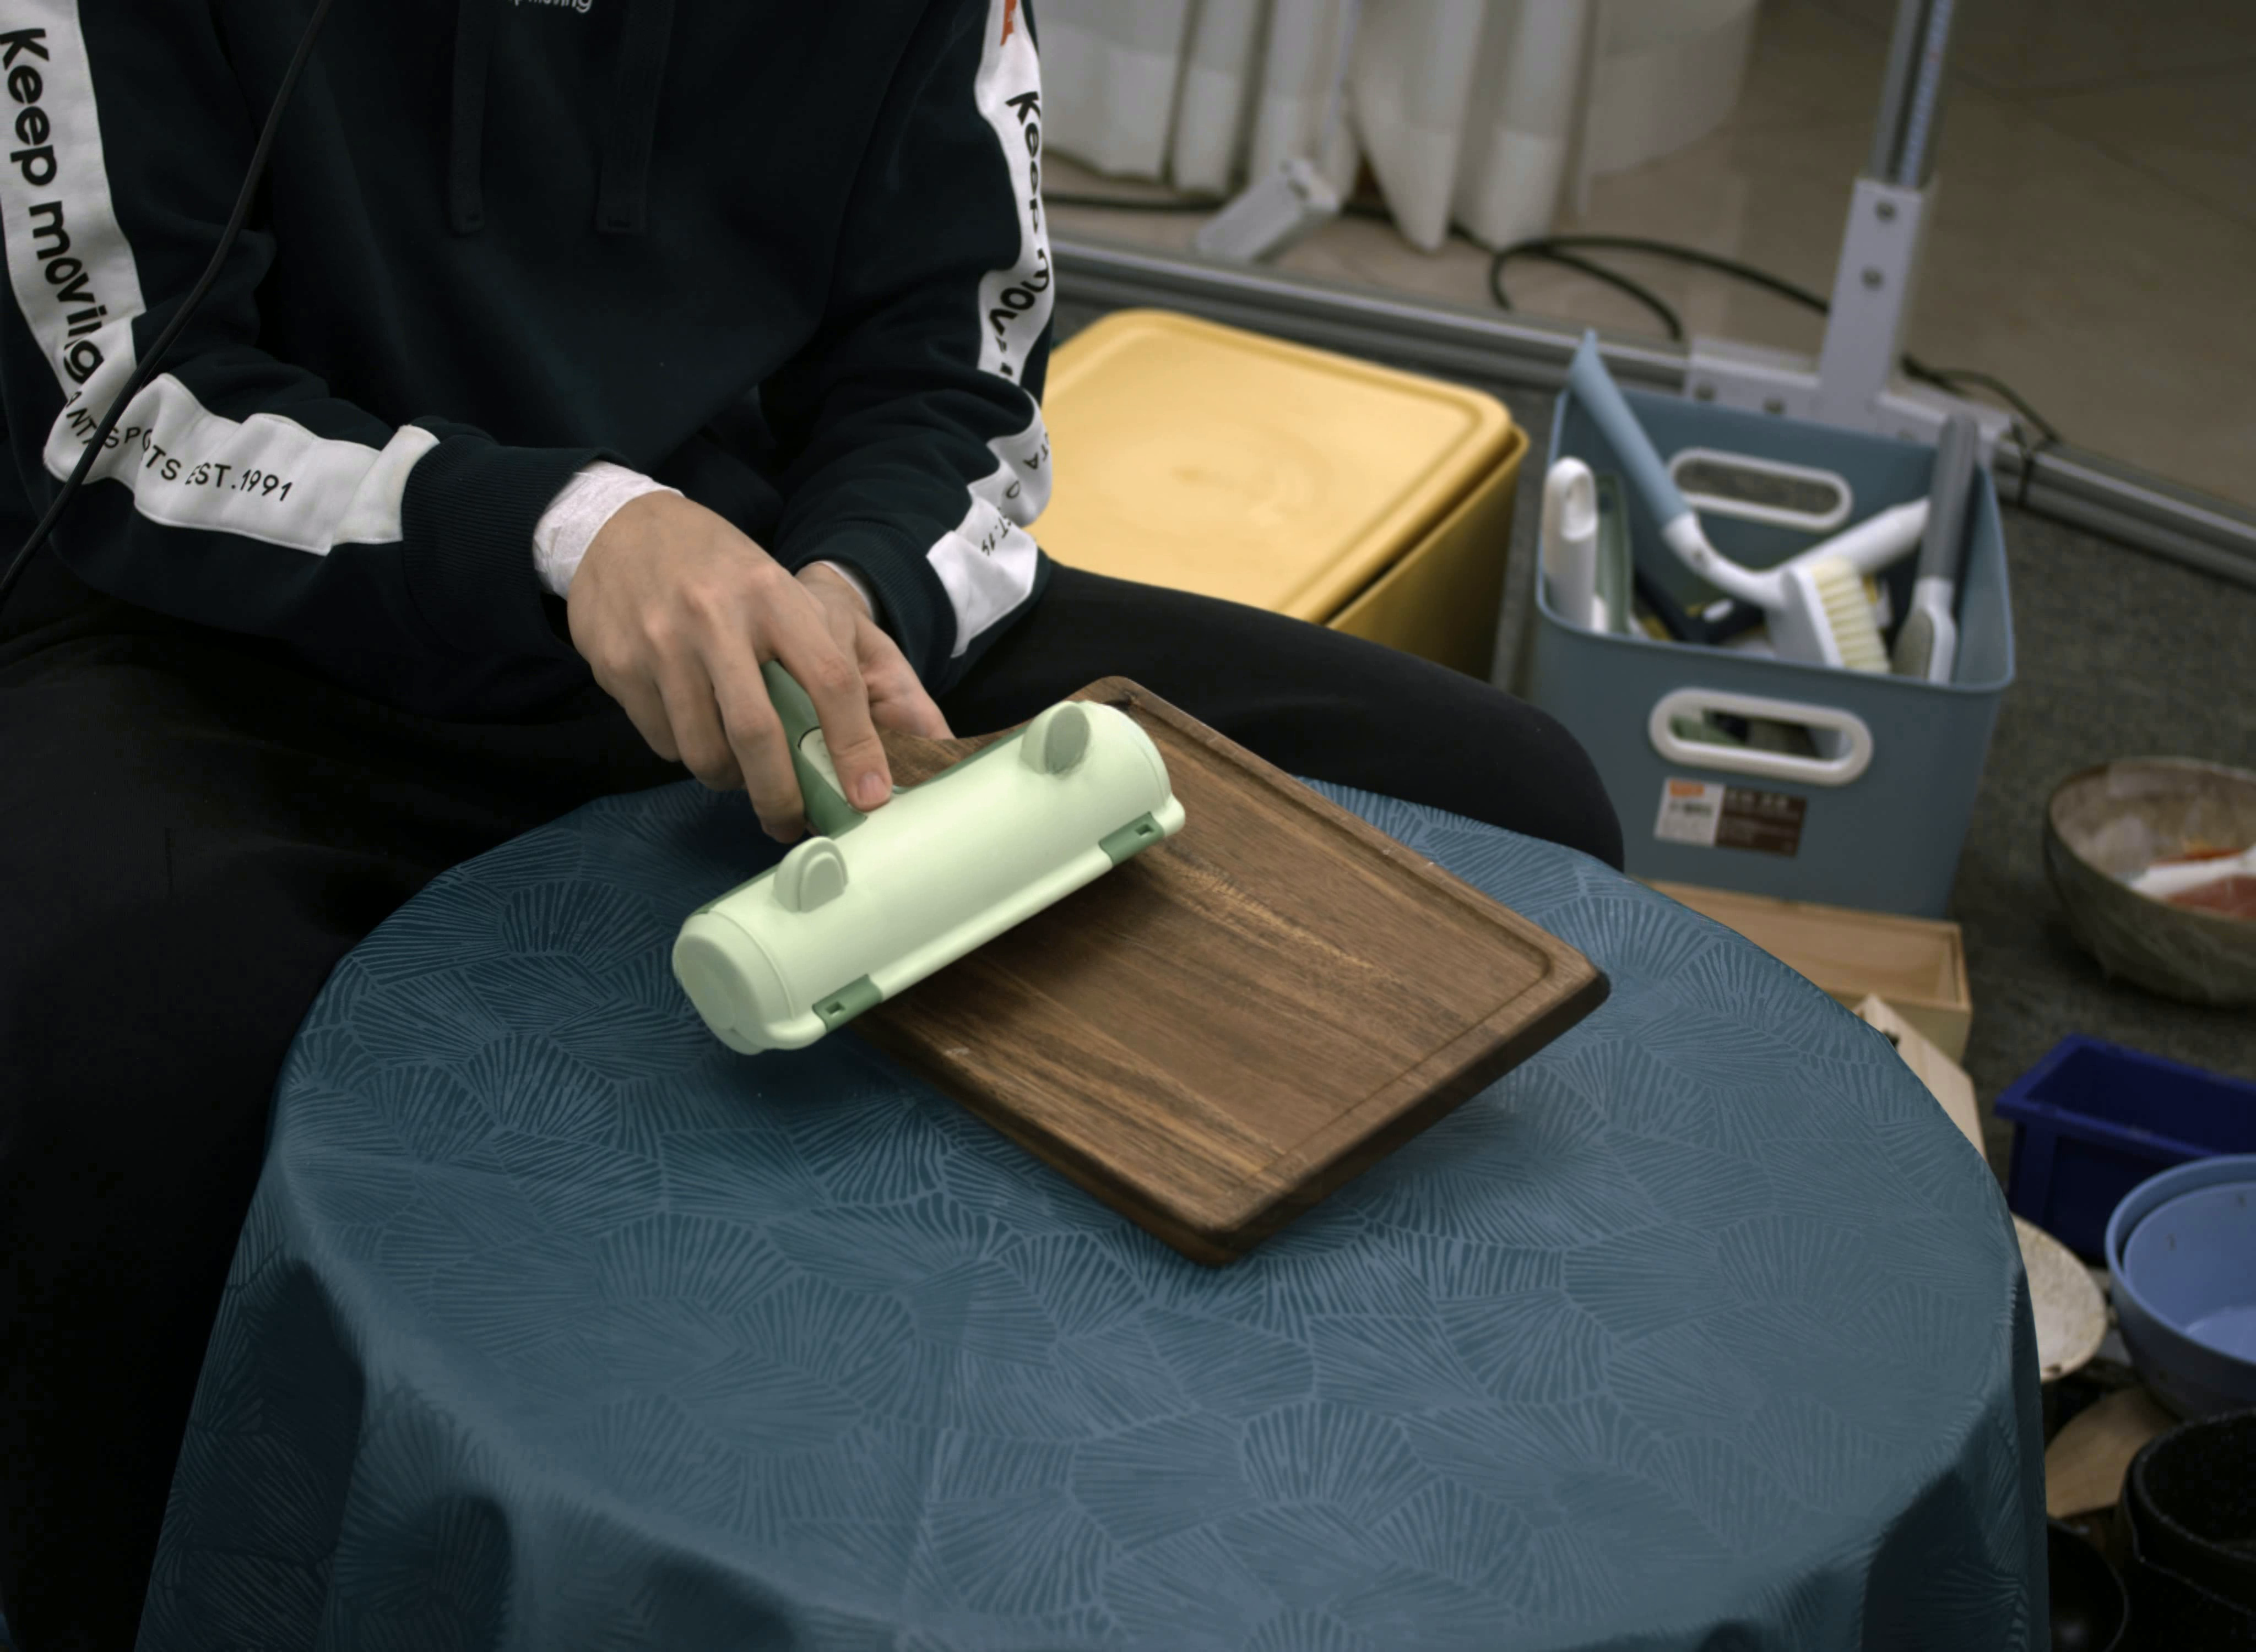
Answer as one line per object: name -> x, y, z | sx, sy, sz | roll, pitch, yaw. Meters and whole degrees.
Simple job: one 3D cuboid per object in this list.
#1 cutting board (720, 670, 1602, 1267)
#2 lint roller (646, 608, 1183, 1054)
cutting board -> -0.022, 0.025, 1.904 | 0.200, 0.023, 0.355 | -32, 46, -33
lint roller -> -0.104, -0.027, 1.871 | 0.198, 0.082, 0.184 | -29, 69, -34
